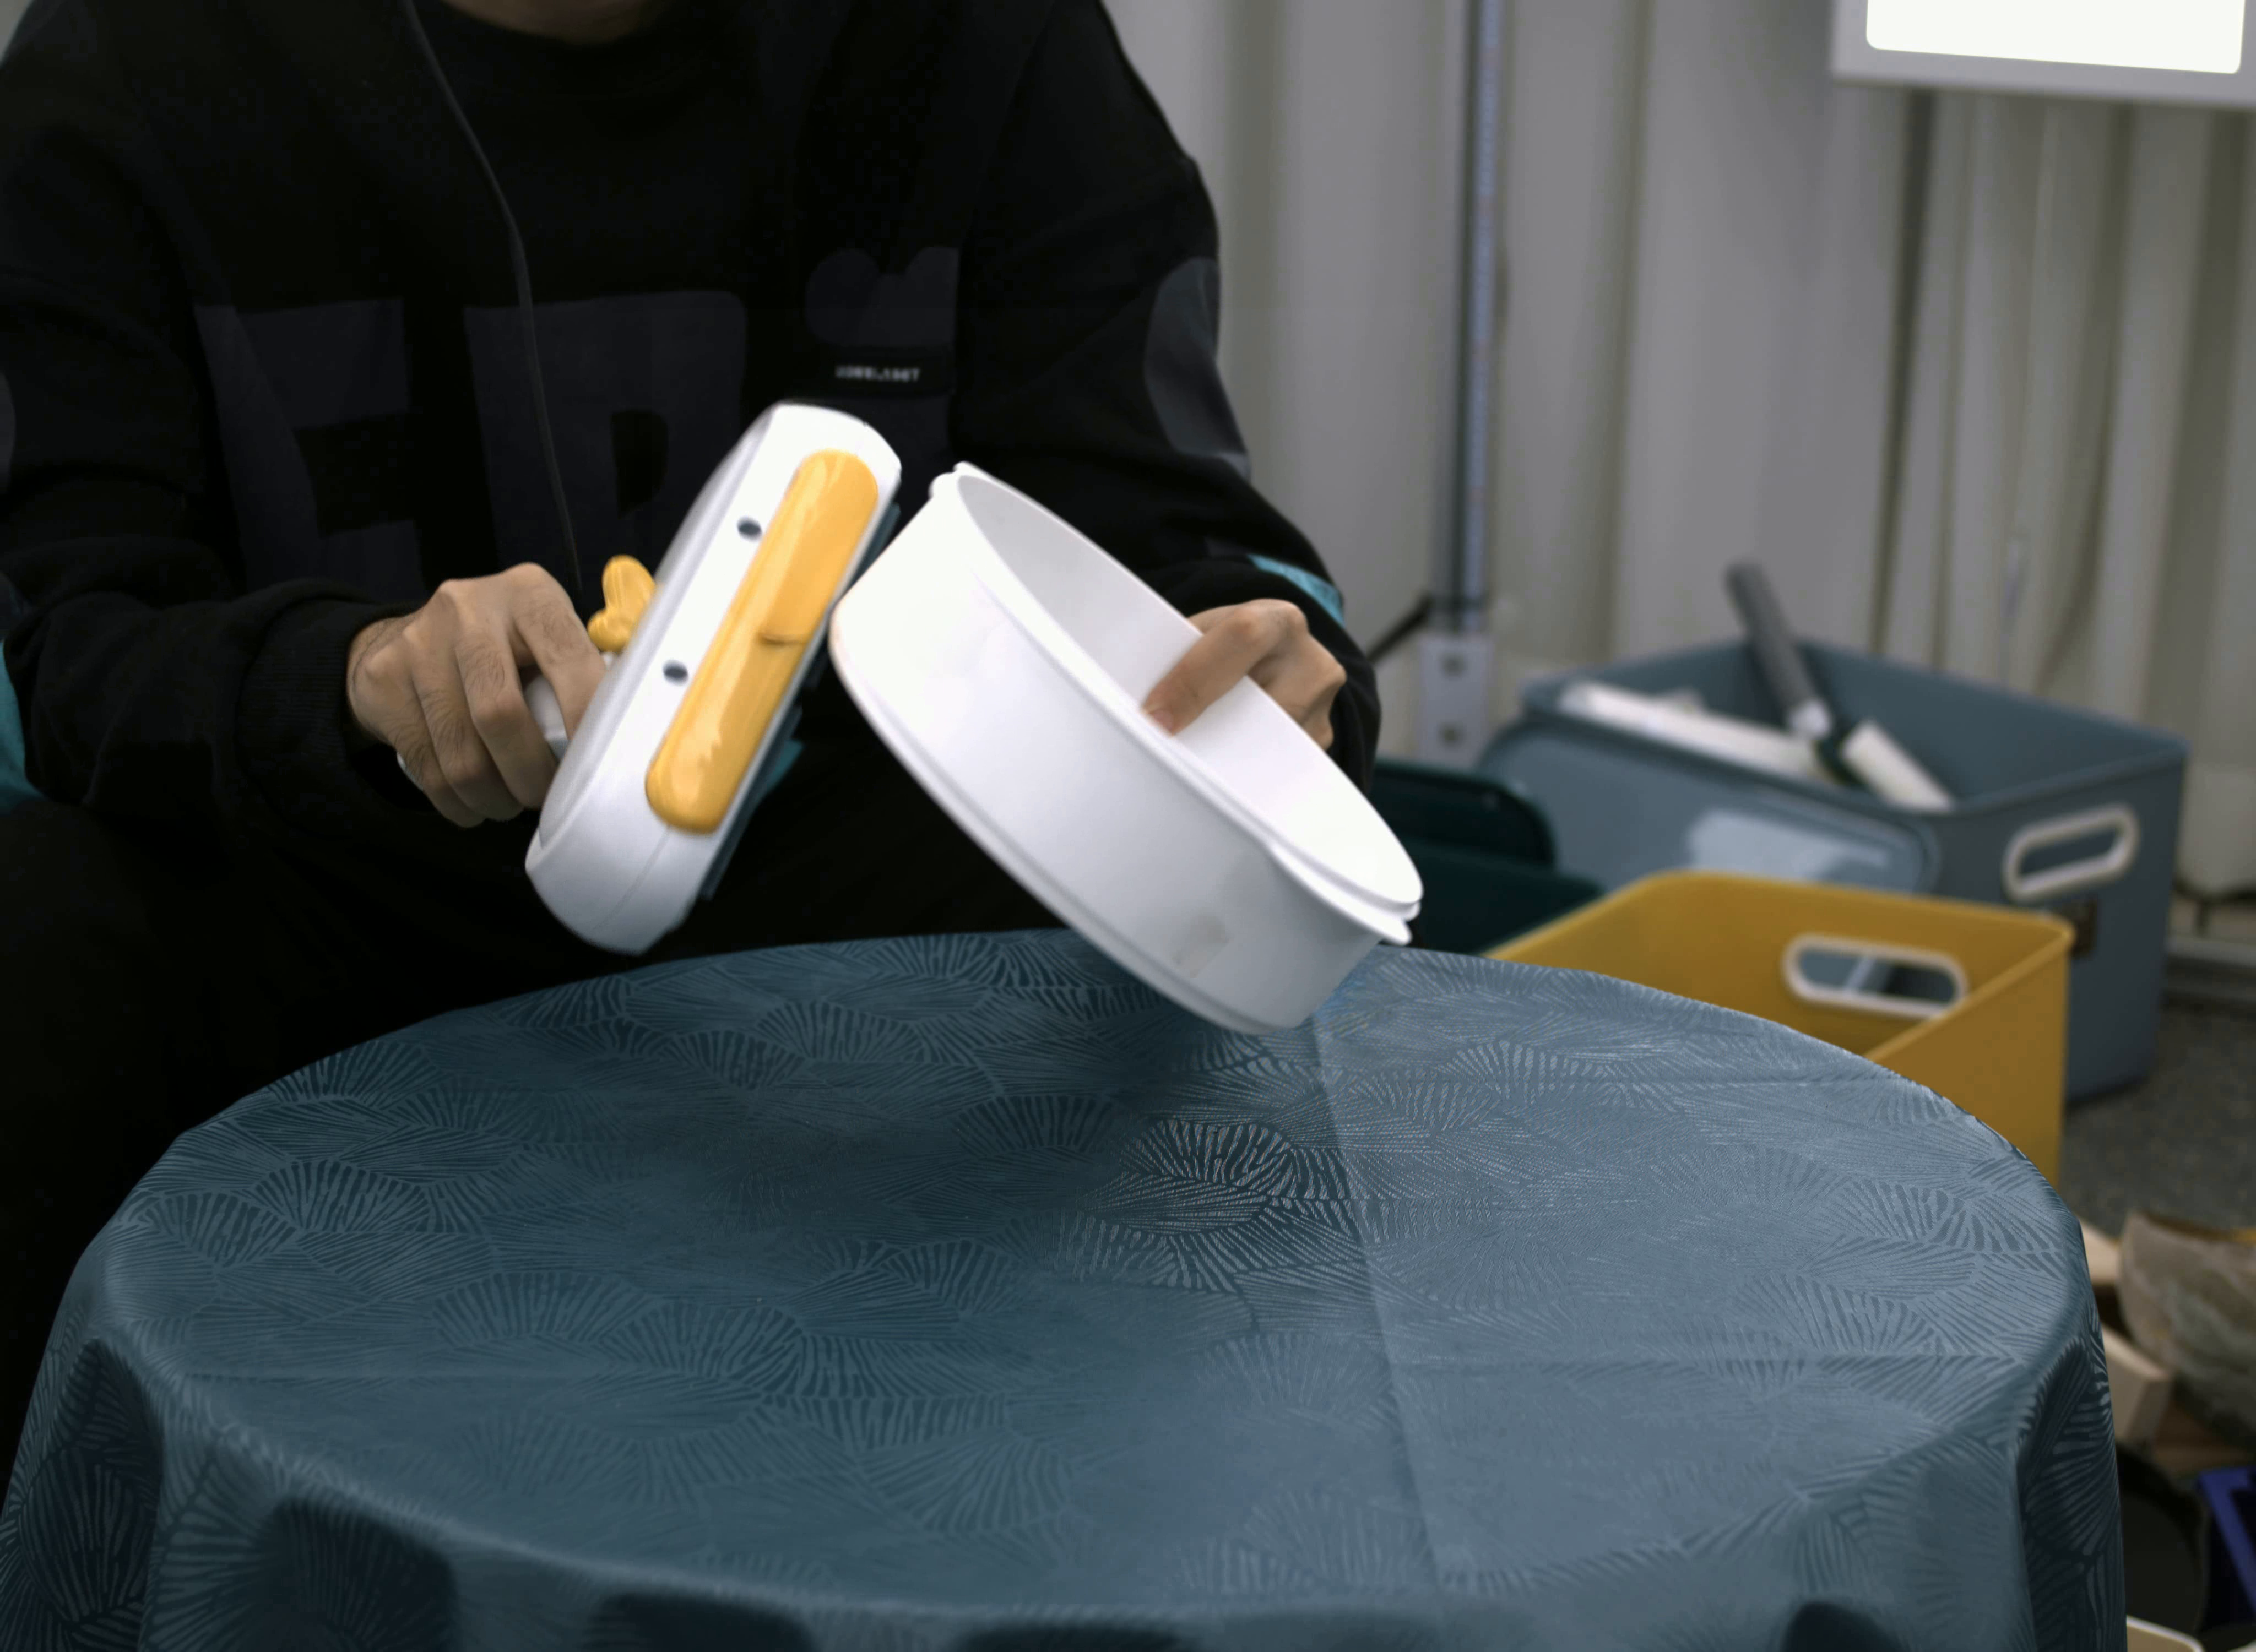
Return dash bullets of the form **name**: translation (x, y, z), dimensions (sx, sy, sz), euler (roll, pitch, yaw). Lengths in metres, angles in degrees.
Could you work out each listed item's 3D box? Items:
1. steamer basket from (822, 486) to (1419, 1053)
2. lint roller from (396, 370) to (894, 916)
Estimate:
- **steamer basket**: translation (-0.005, -0.014, 1.616), dimensions (0.204, 0.069, 0.227), euler (32, 13, -51)
- **lint roller**: translation (-0.164, -0.042, 1.666), dimensions (0.075, 0.192, 0.191), euler (31, -35, -22)
